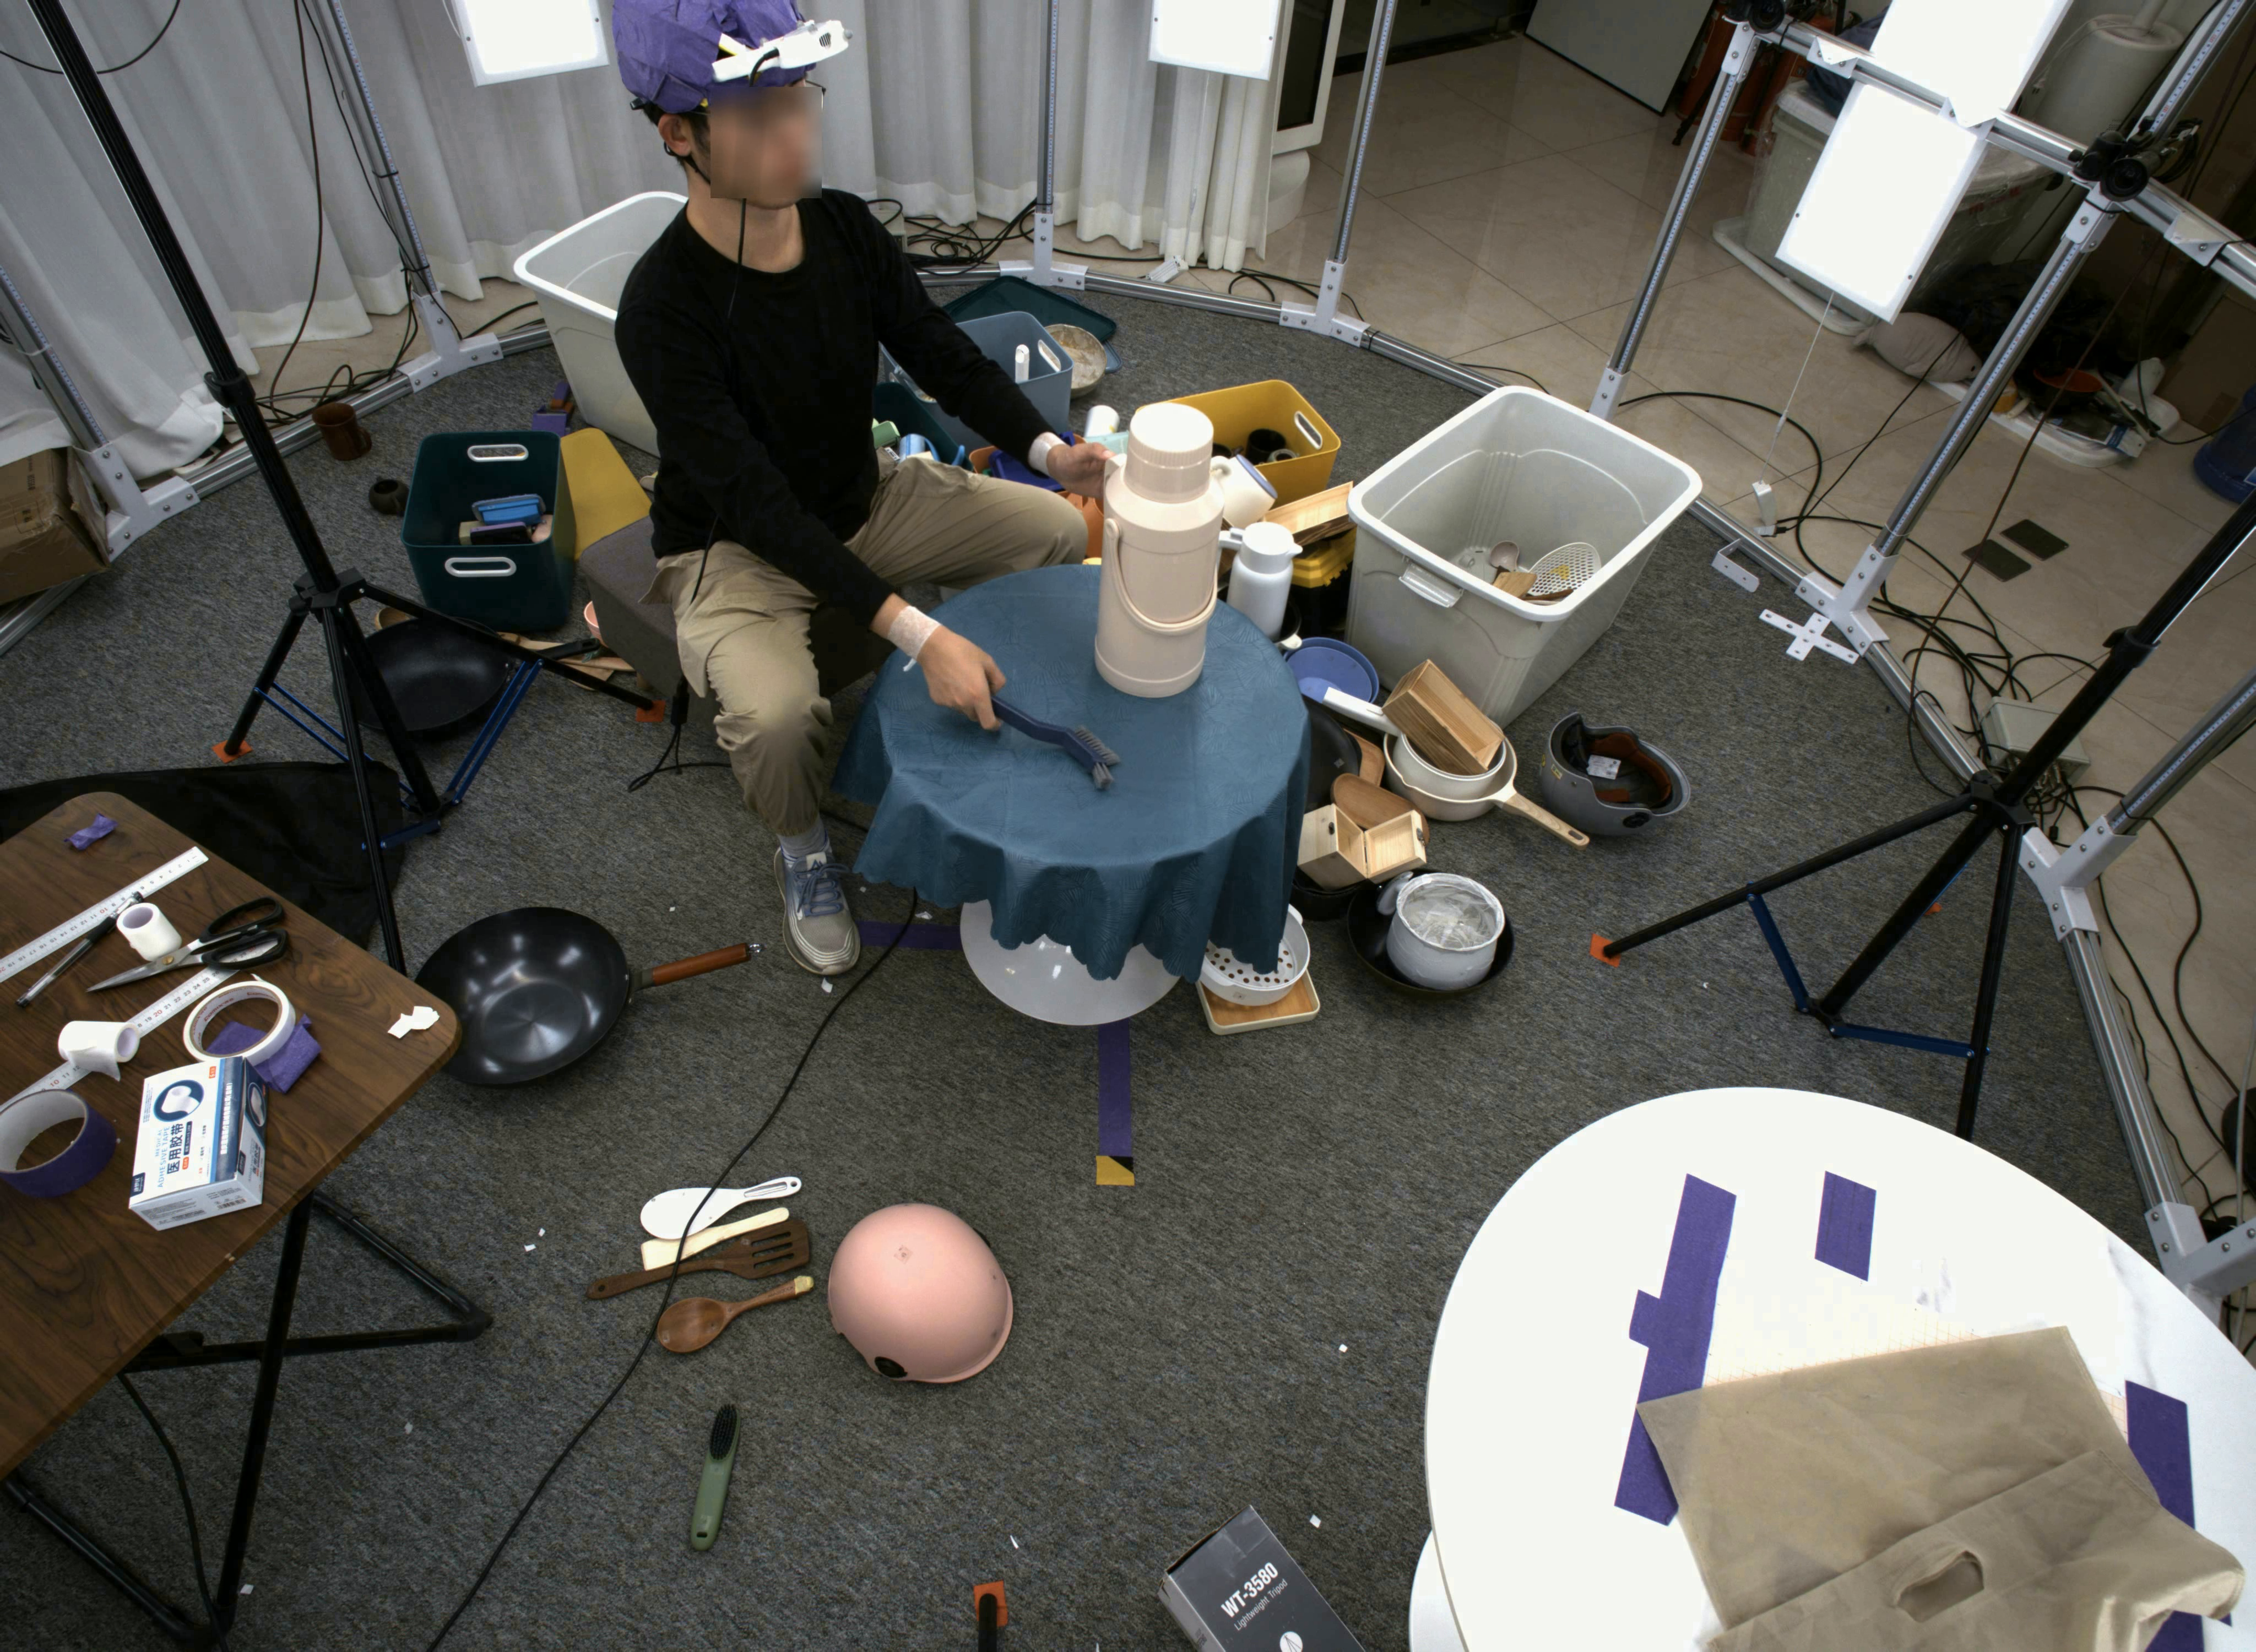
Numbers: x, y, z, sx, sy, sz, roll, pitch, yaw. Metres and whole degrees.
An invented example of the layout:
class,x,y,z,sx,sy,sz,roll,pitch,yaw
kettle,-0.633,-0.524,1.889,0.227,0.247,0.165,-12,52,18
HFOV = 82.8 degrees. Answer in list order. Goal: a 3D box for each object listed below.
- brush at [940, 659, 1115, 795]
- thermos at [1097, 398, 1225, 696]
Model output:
class,x,y,z,sx,sy,sz,roll,pitch,yaw
brush,-0.141,-0.137,1.729,0.273,0.033,0.097,27,43,2
thermos,0.036,-0.380,1.746,0.176,0.396,0.211,-28,57,-24
